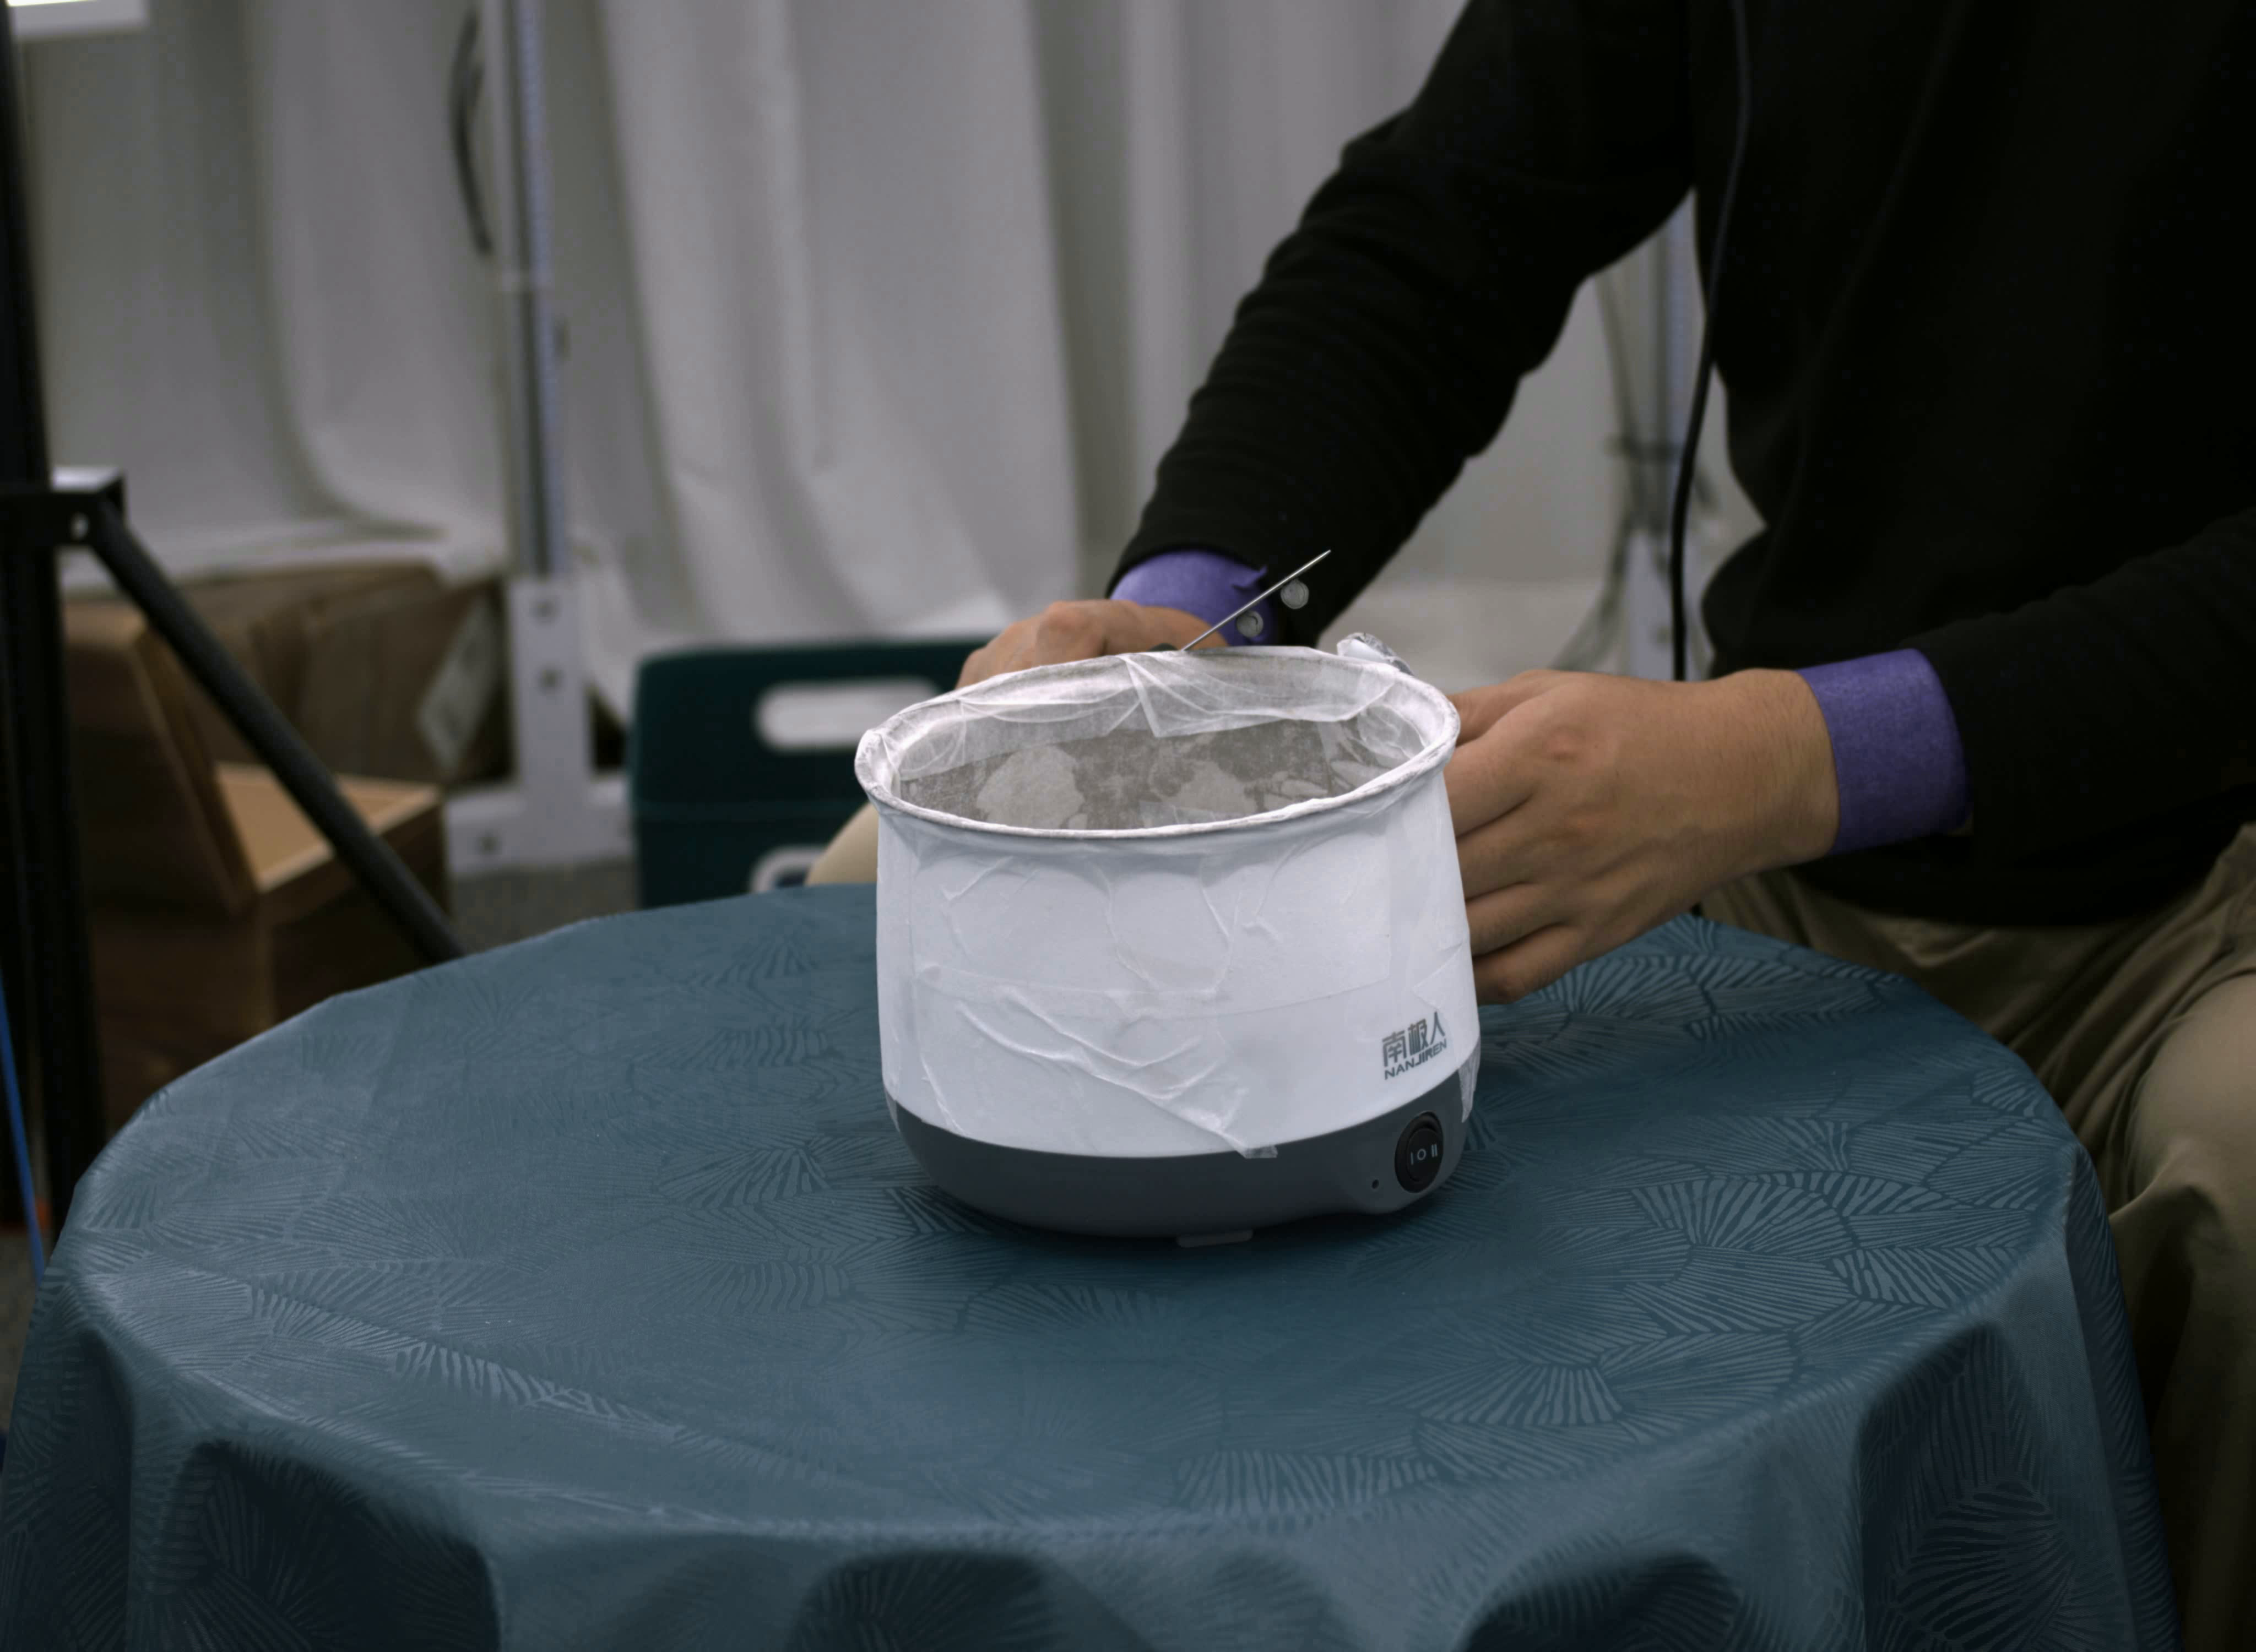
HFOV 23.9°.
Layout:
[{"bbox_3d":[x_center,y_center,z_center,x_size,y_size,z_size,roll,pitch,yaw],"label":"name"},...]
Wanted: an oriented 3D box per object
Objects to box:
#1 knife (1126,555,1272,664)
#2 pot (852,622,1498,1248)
[{"bbox_3d":[0.002,-0.048,1.660,0.024,0.016,0.240,-37,0,-25],"label":"knife"},{"bbox_3d":[0.030,0.025,1.573,0.182,0.136,0.229,11,24,38],"label":"pot"}]
